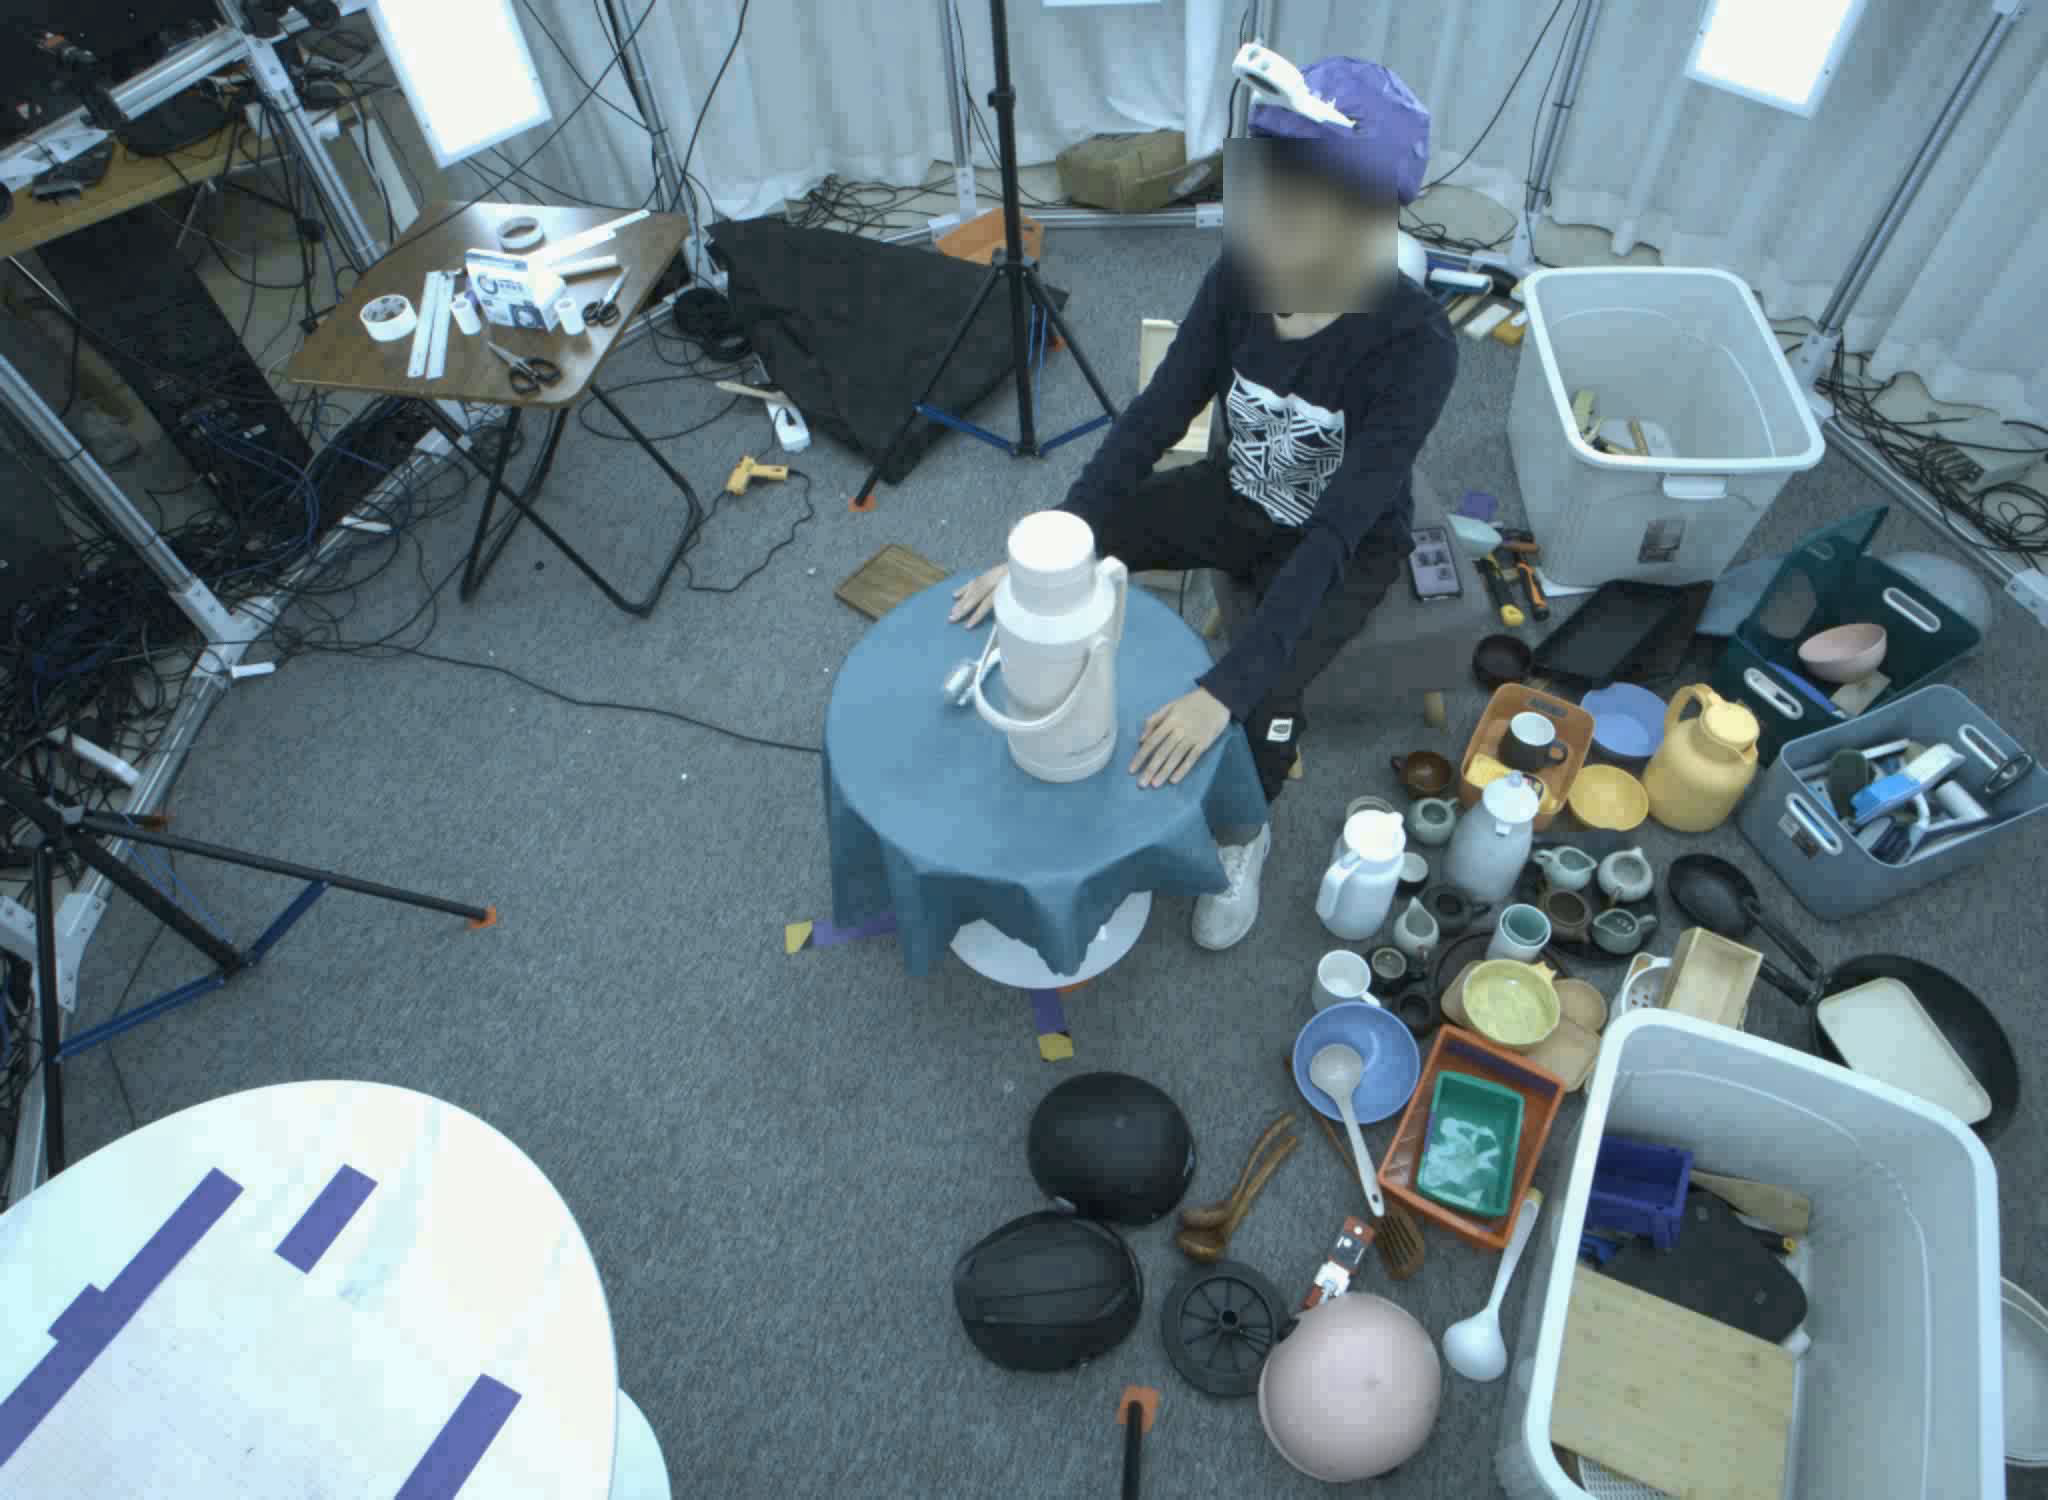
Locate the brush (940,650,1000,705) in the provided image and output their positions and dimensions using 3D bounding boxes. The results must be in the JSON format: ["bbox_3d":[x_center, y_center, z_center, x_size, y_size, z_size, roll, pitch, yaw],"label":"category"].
[{"bbox_3d":[-0.034,-0.154,1.861,0.034,0.051,0.245,33,62,29],"label":"brush"}]

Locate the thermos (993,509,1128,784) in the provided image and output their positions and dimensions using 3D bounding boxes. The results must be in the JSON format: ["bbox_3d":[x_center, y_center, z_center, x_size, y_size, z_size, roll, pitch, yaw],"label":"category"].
[{"bbox_3d":[0.056,-0.140,1.632,0.208,0.411,0.172,-37,58,-21],"label":"thermos"}]
